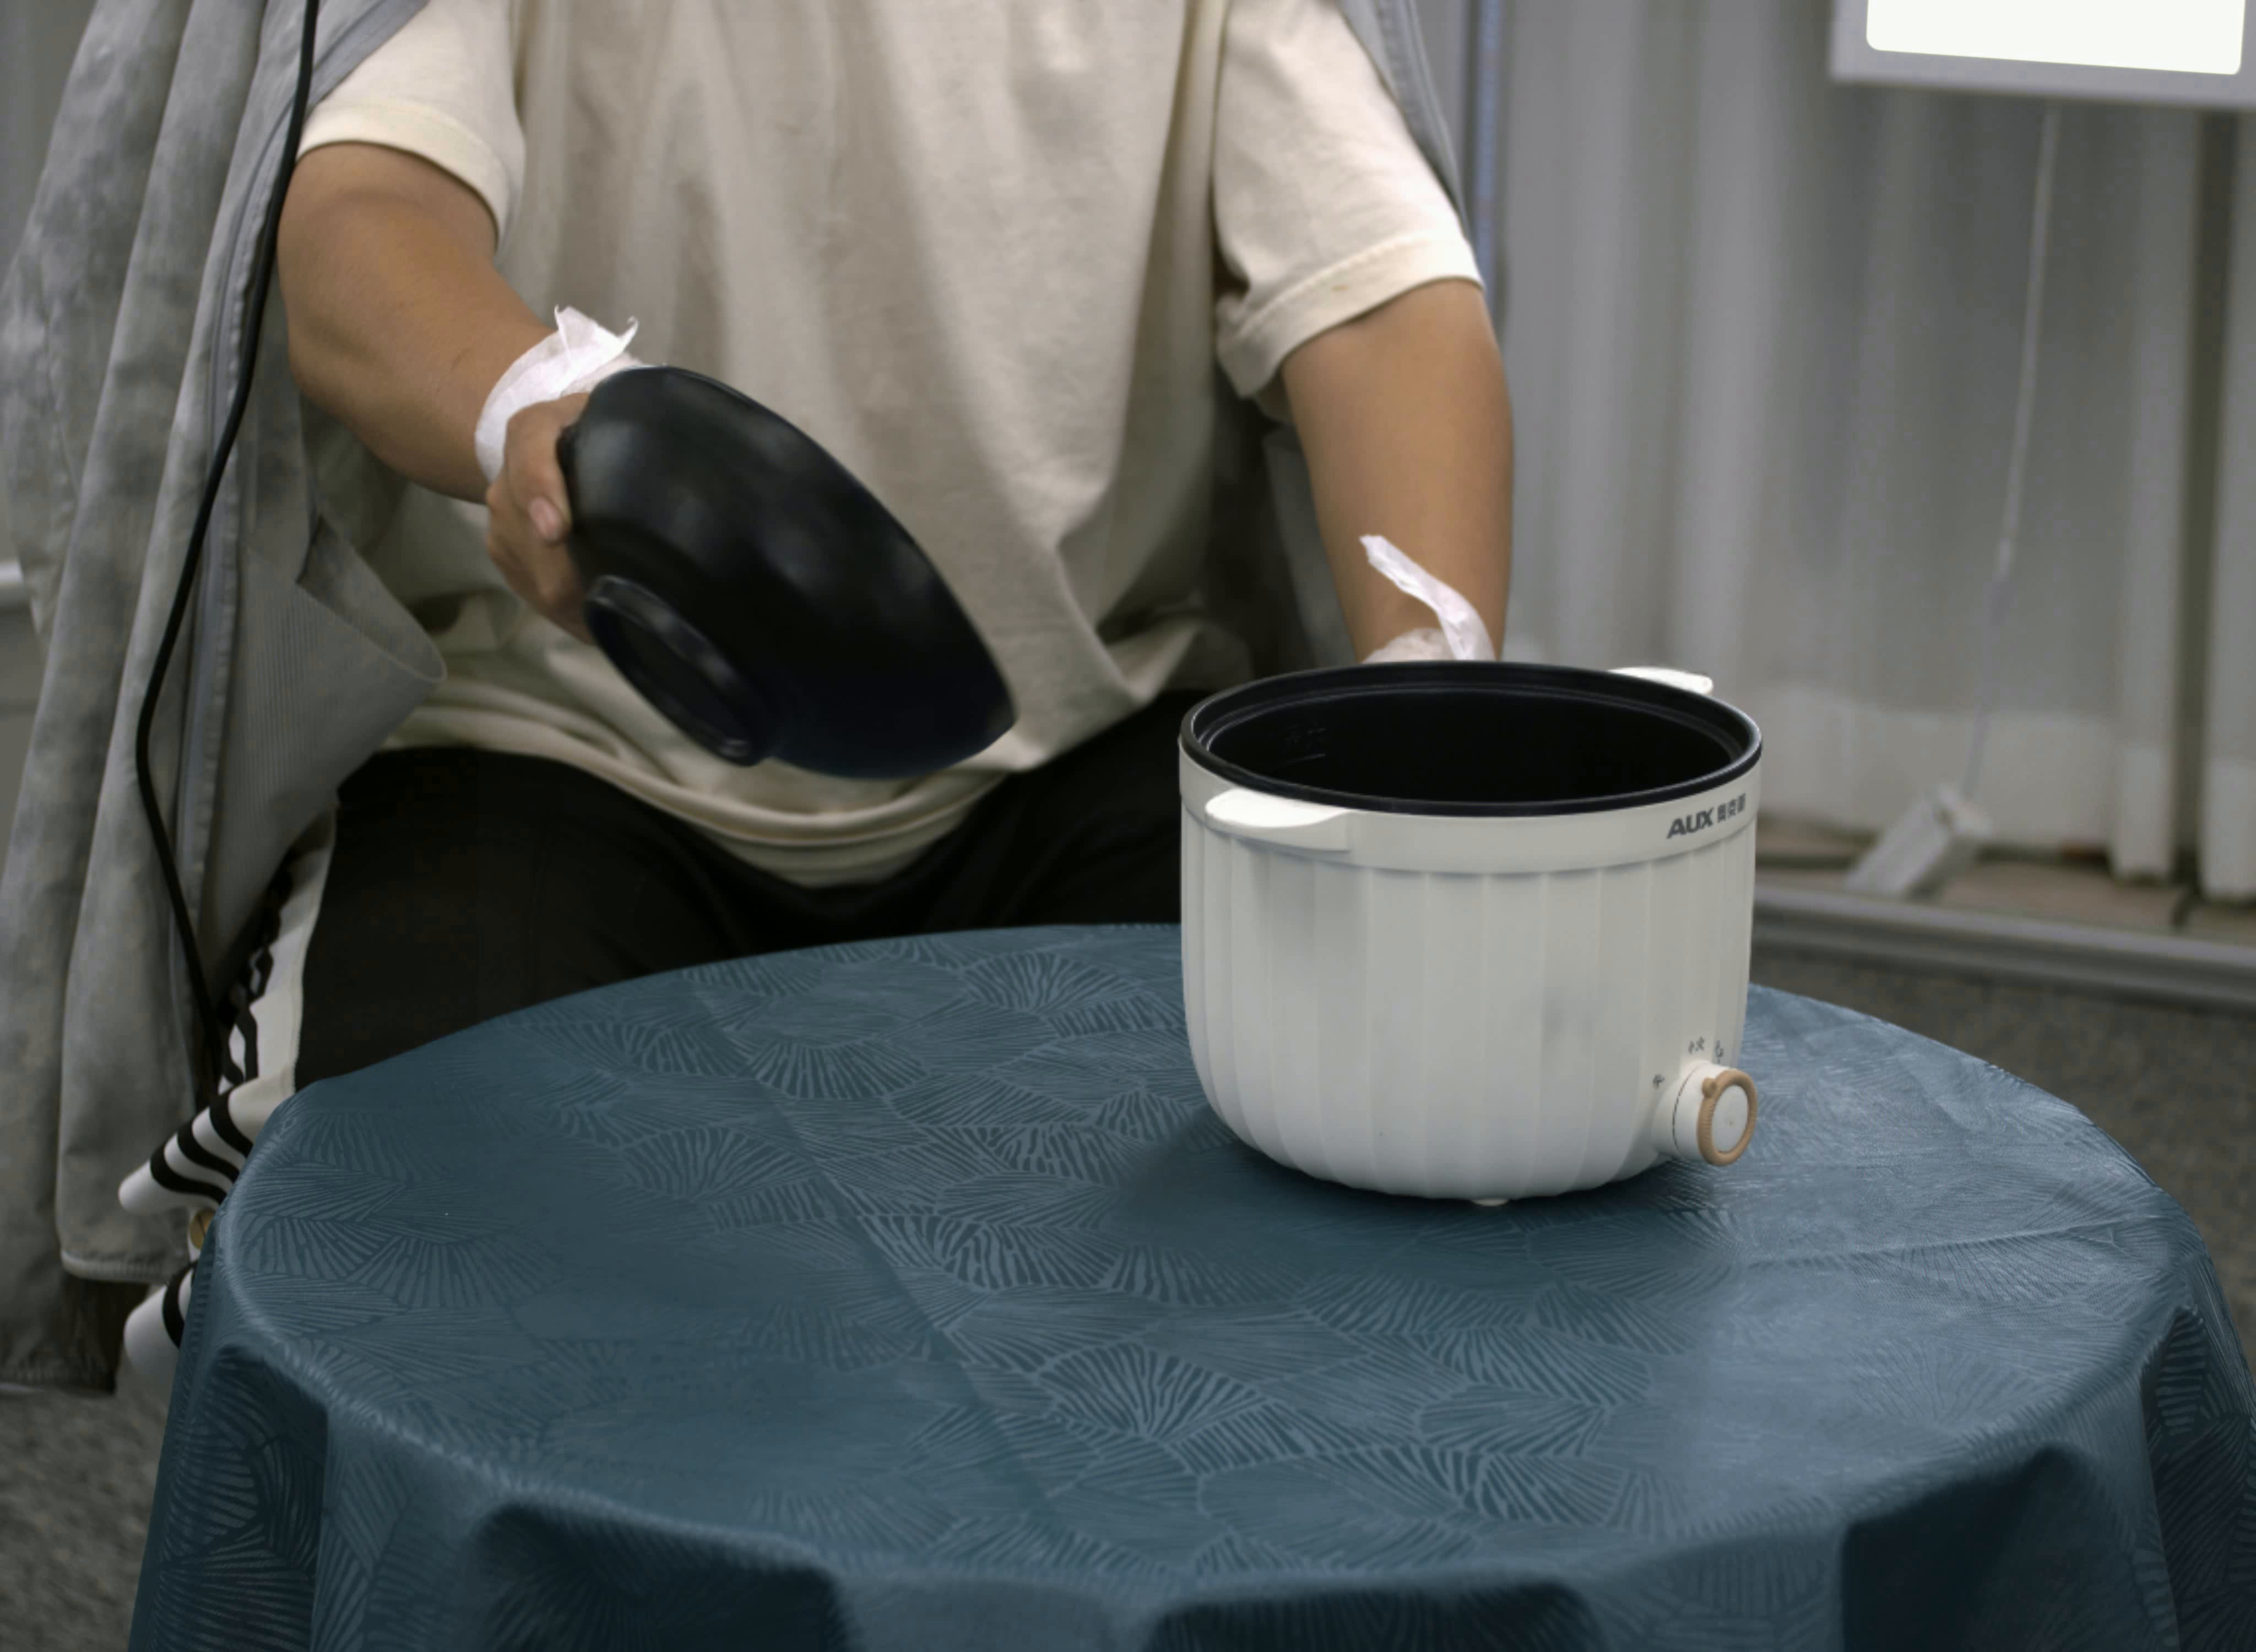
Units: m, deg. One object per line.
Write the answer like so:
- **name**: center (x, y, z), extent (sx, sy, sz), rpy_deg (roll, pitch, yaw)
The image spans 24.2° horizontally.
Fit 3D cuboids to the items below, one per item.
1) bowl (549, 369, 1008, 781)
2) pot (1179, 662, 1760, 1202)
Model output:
- **bowl**: center (-0.114, -0.062, 1.523), extent (0.168, 0.139, 0.066), rpy_deg (33, 70, 30)
- **pot**: center (0.111, 0.034, 1.652), extent (0.188, 0.144, 0.241), rpy_deg (9, 18, 37)
